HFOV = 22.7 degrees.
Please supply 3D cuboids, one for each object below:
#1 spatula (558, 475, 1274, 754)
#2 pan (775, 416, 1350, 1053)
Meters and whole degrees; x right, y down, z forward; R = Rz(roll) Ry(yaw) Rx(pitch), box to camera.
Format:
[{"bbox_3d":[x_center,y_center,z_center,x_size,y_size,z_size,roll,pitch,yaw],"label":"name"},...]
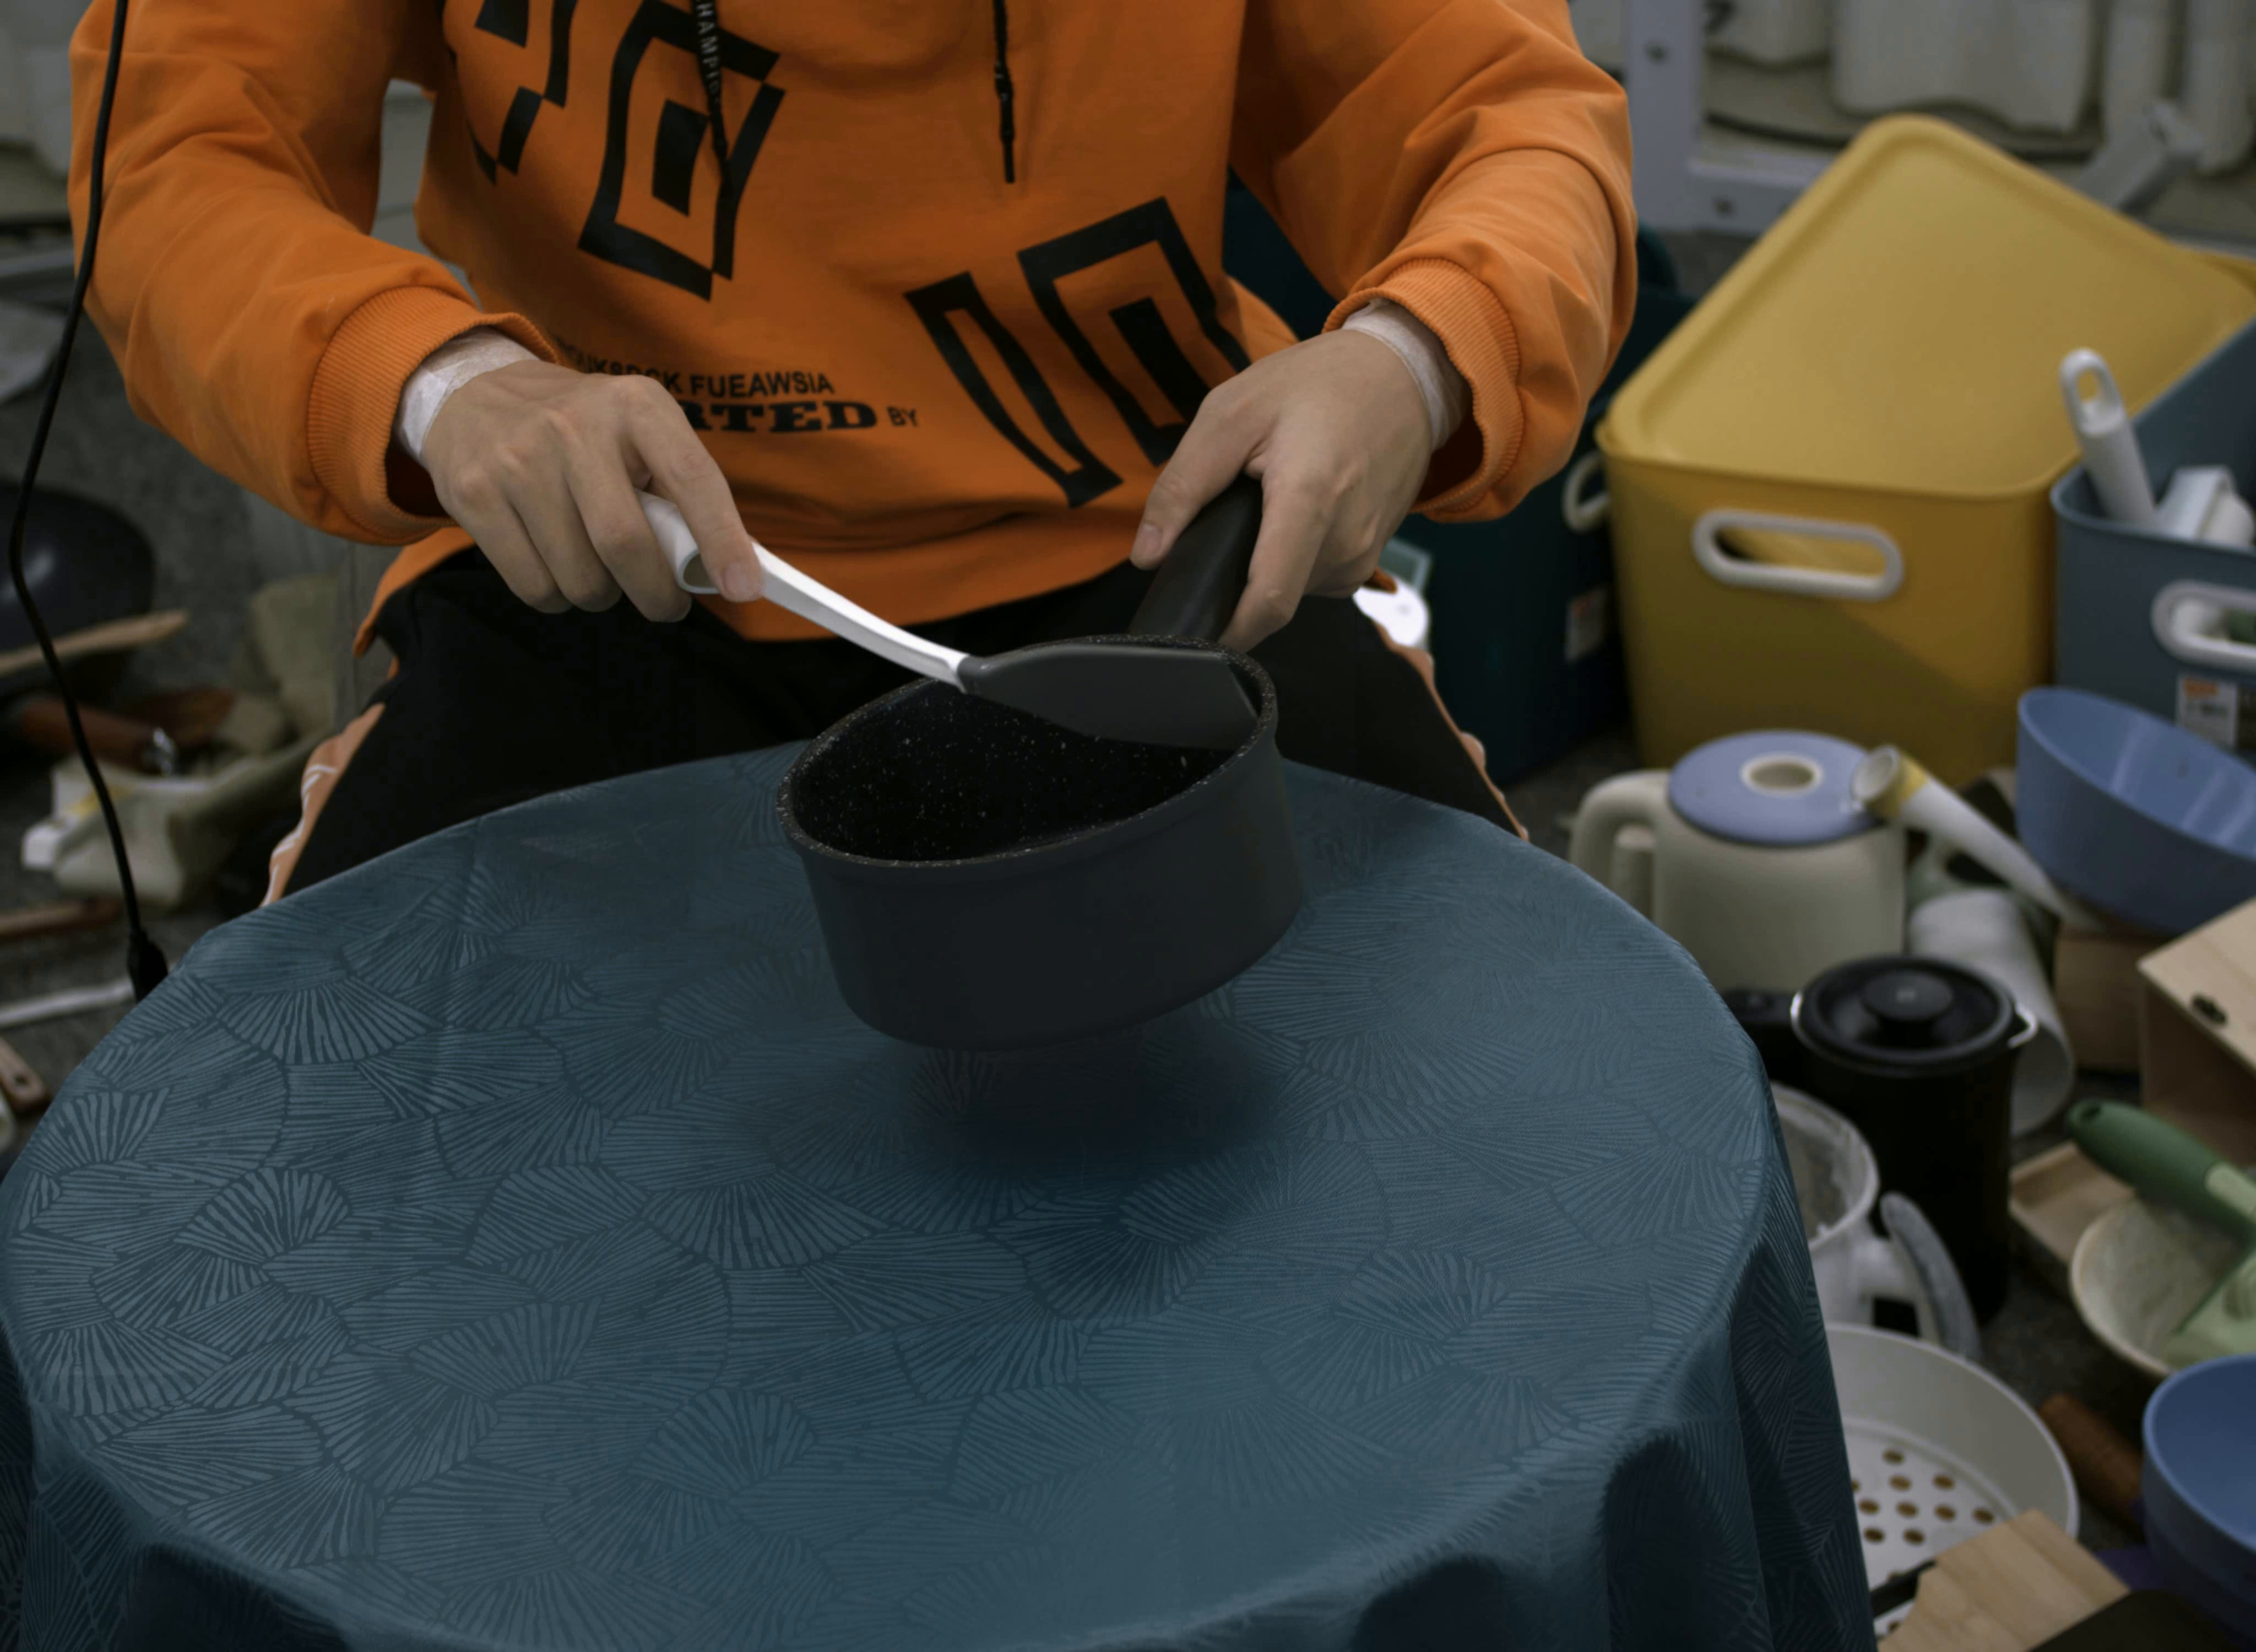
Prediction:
[{"bbox_3d":[-0.076,-0.069,1.918,0.286,0.058,0.033,19,58,32],"label":"spatula"},{"bbox_3d":[0.005,-0.034,1.949,0.170,0.086,0.334,1,29,27],"label":"pan"}]
